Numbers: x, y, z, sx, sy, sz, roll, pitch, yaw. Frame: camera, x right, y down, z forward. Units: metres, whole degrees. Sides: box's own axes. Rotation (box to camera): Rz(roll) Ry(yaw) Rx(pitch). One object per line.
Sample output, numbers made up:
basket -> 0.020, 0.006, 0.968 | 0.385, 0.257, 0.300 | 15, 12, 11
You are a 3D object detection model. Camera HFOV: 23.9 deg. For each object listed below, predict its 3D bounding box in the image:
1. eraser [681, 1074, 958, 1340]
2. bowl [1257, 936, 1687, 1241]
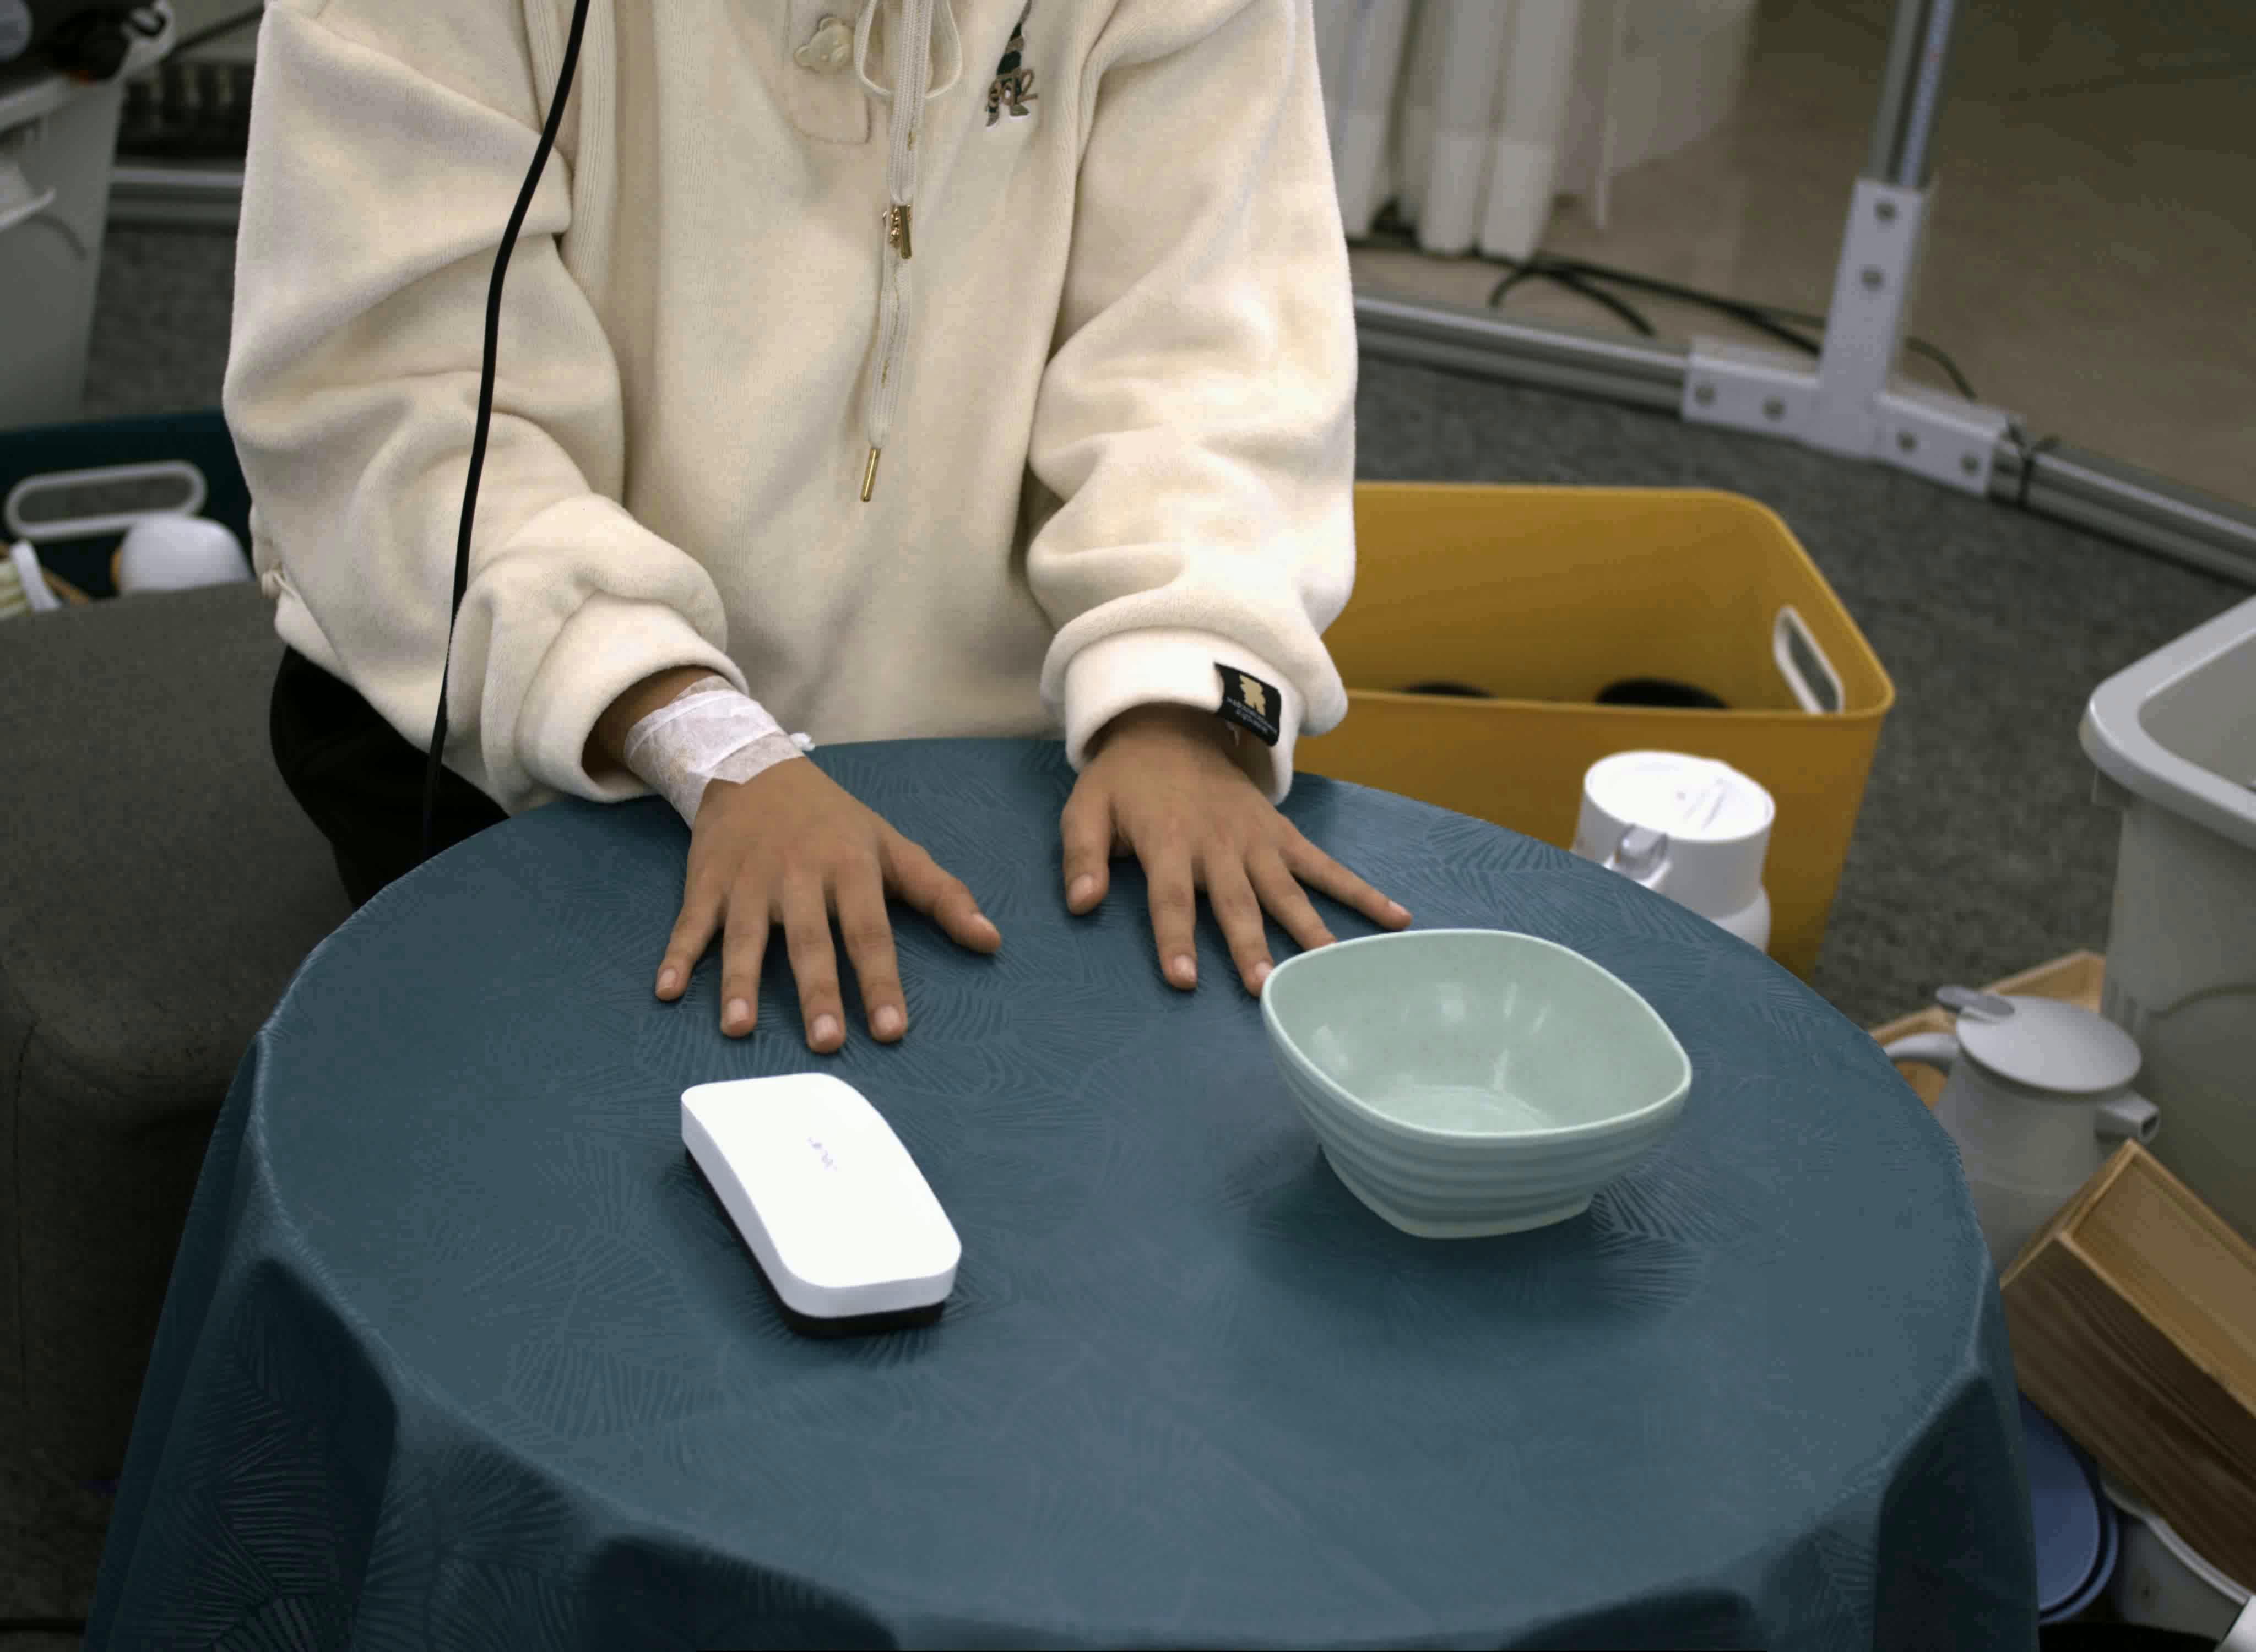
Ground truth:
eraser -> -0.102, 0.121, 1.750 | 0.063, 0.034, 0.132 | -5, 29, -22
bowl -> 0.113, 0.096, 1.822 | 0.151, 0.058, 0.152 | 7, 25, -4
